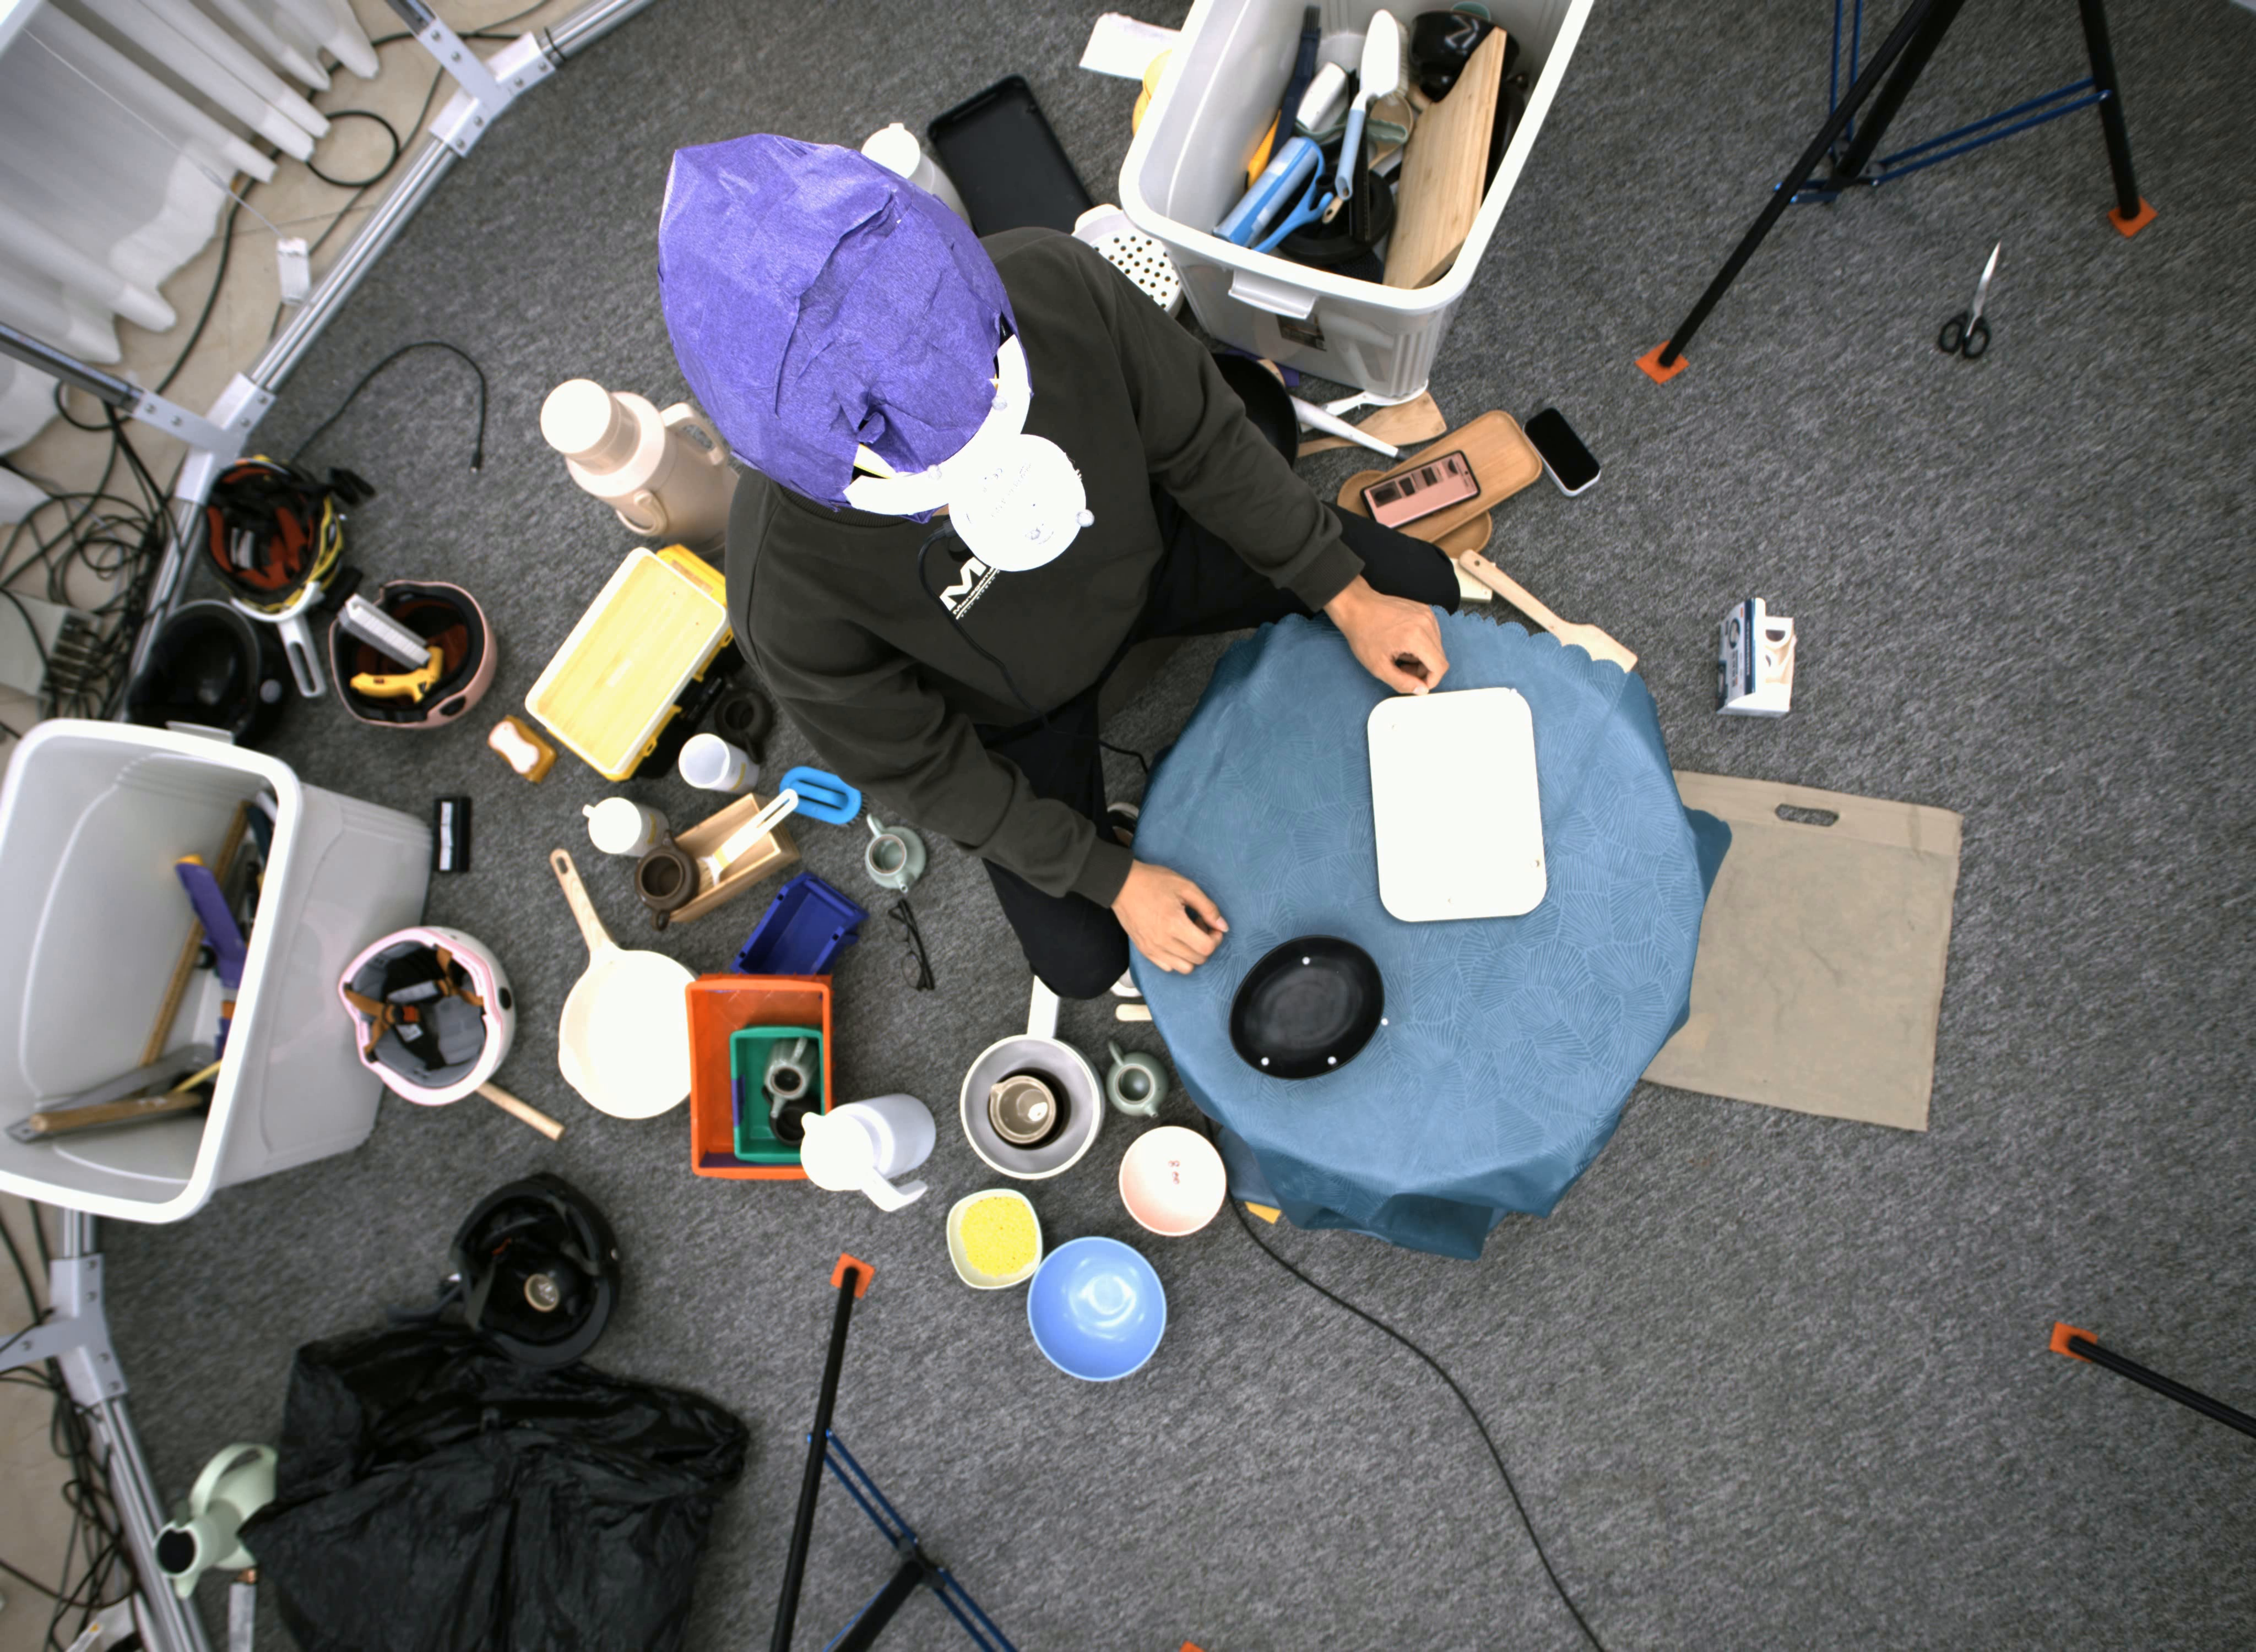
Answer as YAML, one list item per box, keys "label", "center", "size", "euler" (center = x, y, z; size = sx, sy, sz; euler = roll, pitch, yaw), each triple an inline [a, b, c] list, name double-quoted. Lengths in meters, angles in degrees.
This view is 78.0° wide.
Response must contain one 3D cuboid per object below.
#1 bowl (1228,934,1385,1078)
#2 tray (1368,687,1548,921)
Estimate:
- label: "bowl"
  center: [0.186, 0.187, 1.437]
  size: [0.171, 0.067, 0.136]
  euler: [-36, 79, 8]
- label: "tray"
  center: [0.345, -0.024, 1.442]
  size: [0.172, 0.017, 0.238]
  euler: [-4, 86, 11]
